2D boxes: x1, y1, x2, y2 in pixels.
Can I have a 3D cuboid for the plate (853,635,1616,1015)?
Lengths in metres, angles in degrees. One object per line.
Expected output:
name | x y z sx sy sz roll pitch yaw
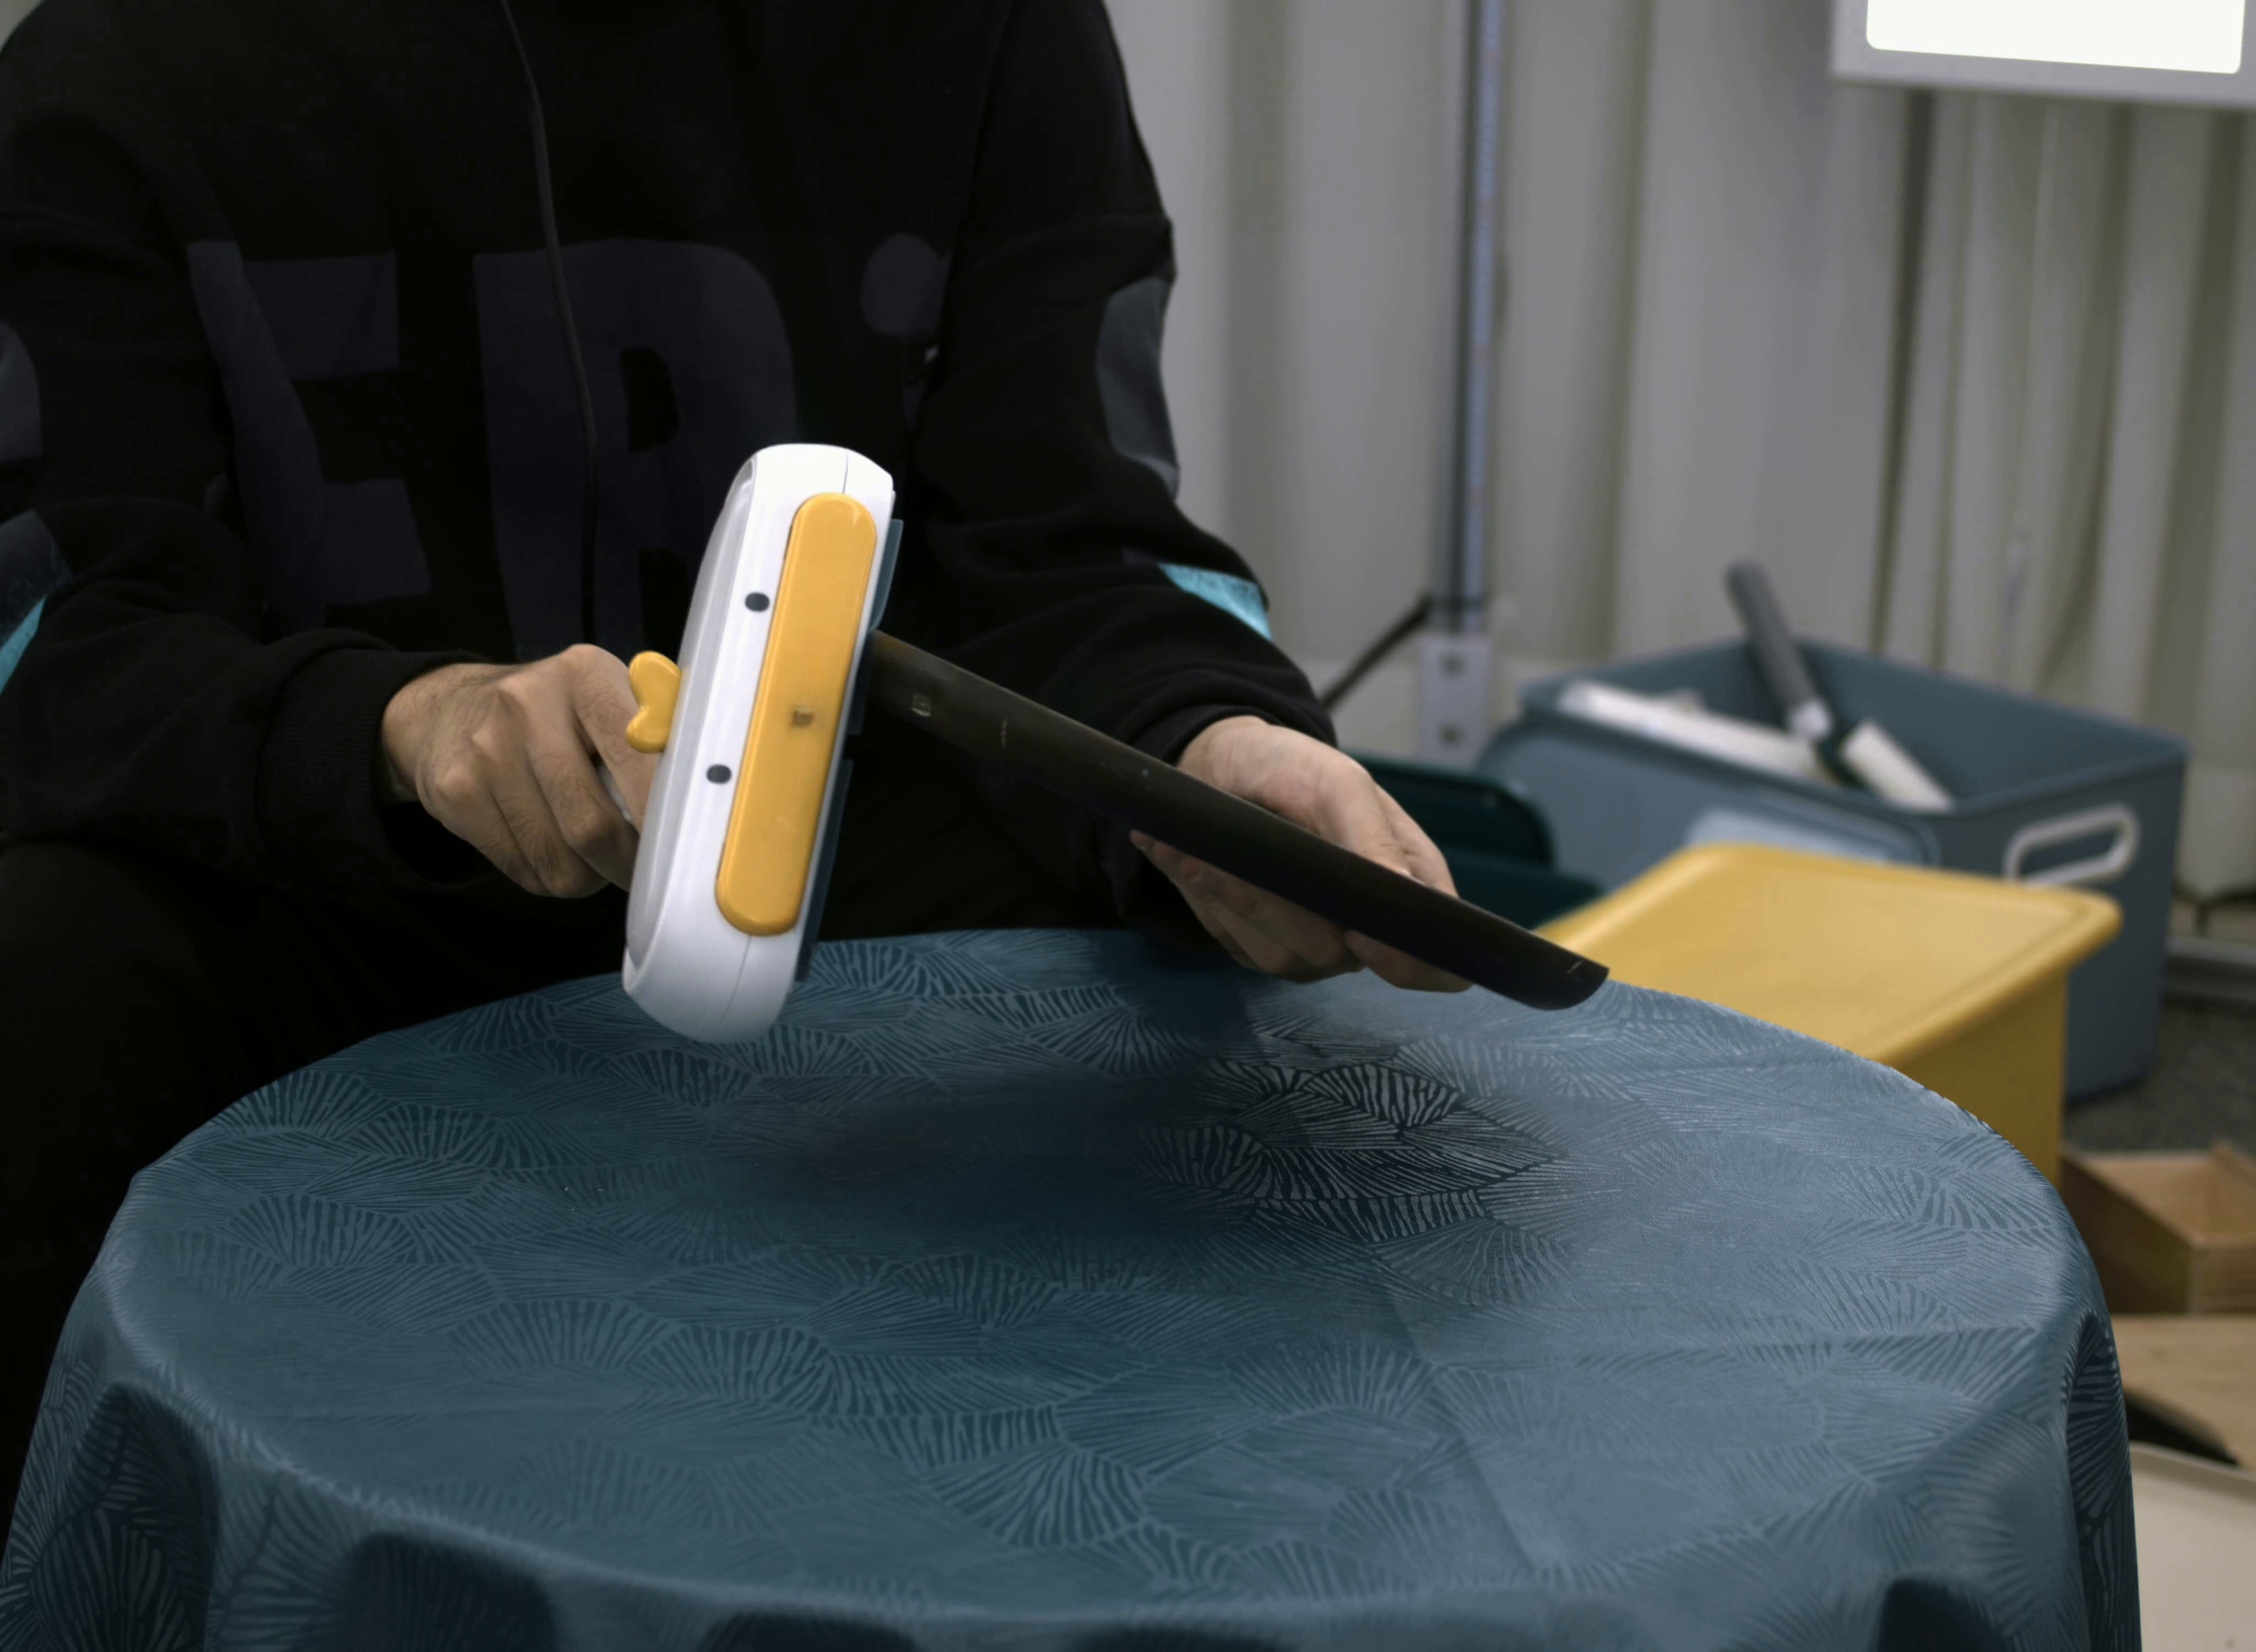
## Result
plate | 0.029 0.001 1.631 0.254 0.029 0.255 24 0 0

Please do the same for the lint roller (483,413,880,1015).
lint roller | -0.146 -0.019 1.665 0.074 0.192 0.192 14 -23 -22
